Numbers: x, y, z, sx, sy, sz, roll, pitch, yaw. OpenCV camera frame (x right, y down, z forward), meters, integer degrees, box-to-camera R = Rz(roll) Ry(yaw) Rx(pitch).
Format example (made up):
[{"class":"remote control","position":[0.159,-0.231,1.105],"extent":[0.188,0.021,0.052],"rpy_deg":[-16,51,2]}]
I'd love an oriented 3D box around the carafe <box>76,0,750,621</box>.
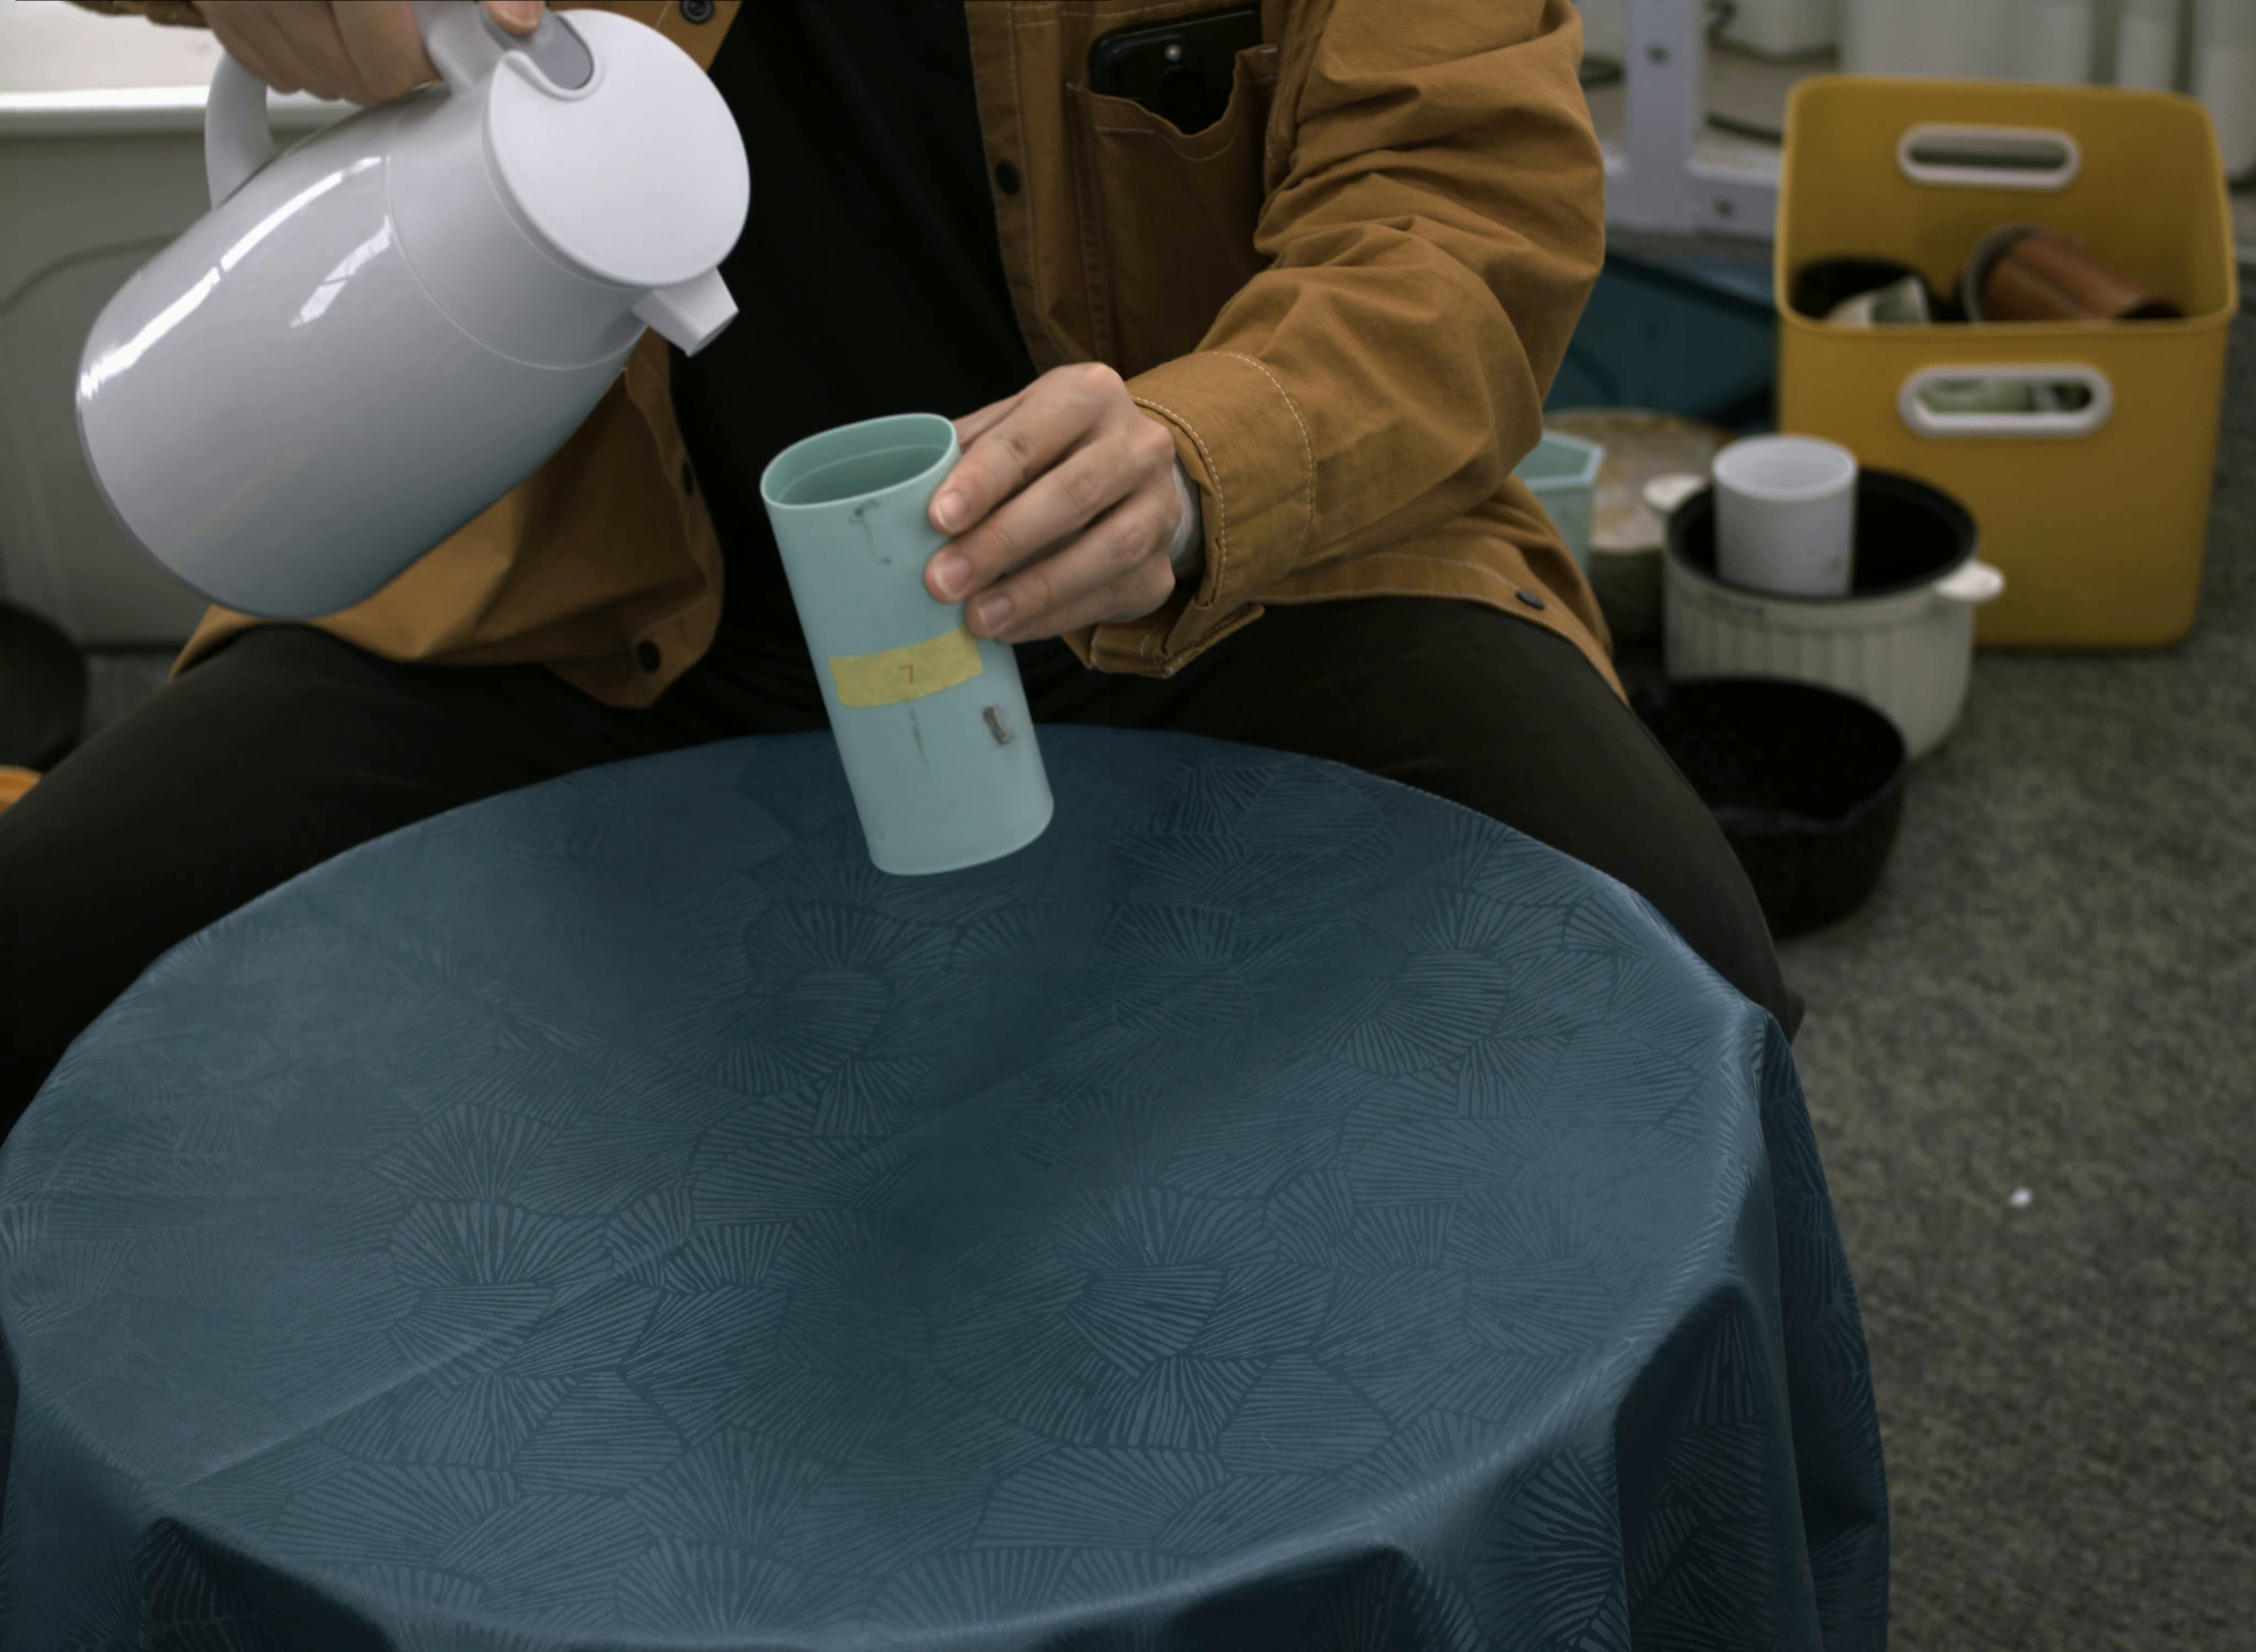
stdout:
[{"class":"carafe","position":[-0.232,-0.184,1.787],"extent":[0.244,0.167,0.135],"rpy_deg":[-31,10,48]}]

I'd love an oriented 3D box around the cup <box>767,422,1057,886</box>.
[{"class":"cup","position":[-0.066,-0.054,1.762],"extent":[0.066,0.131,0.068],"rpy_deg":[-12,24,6]}]
